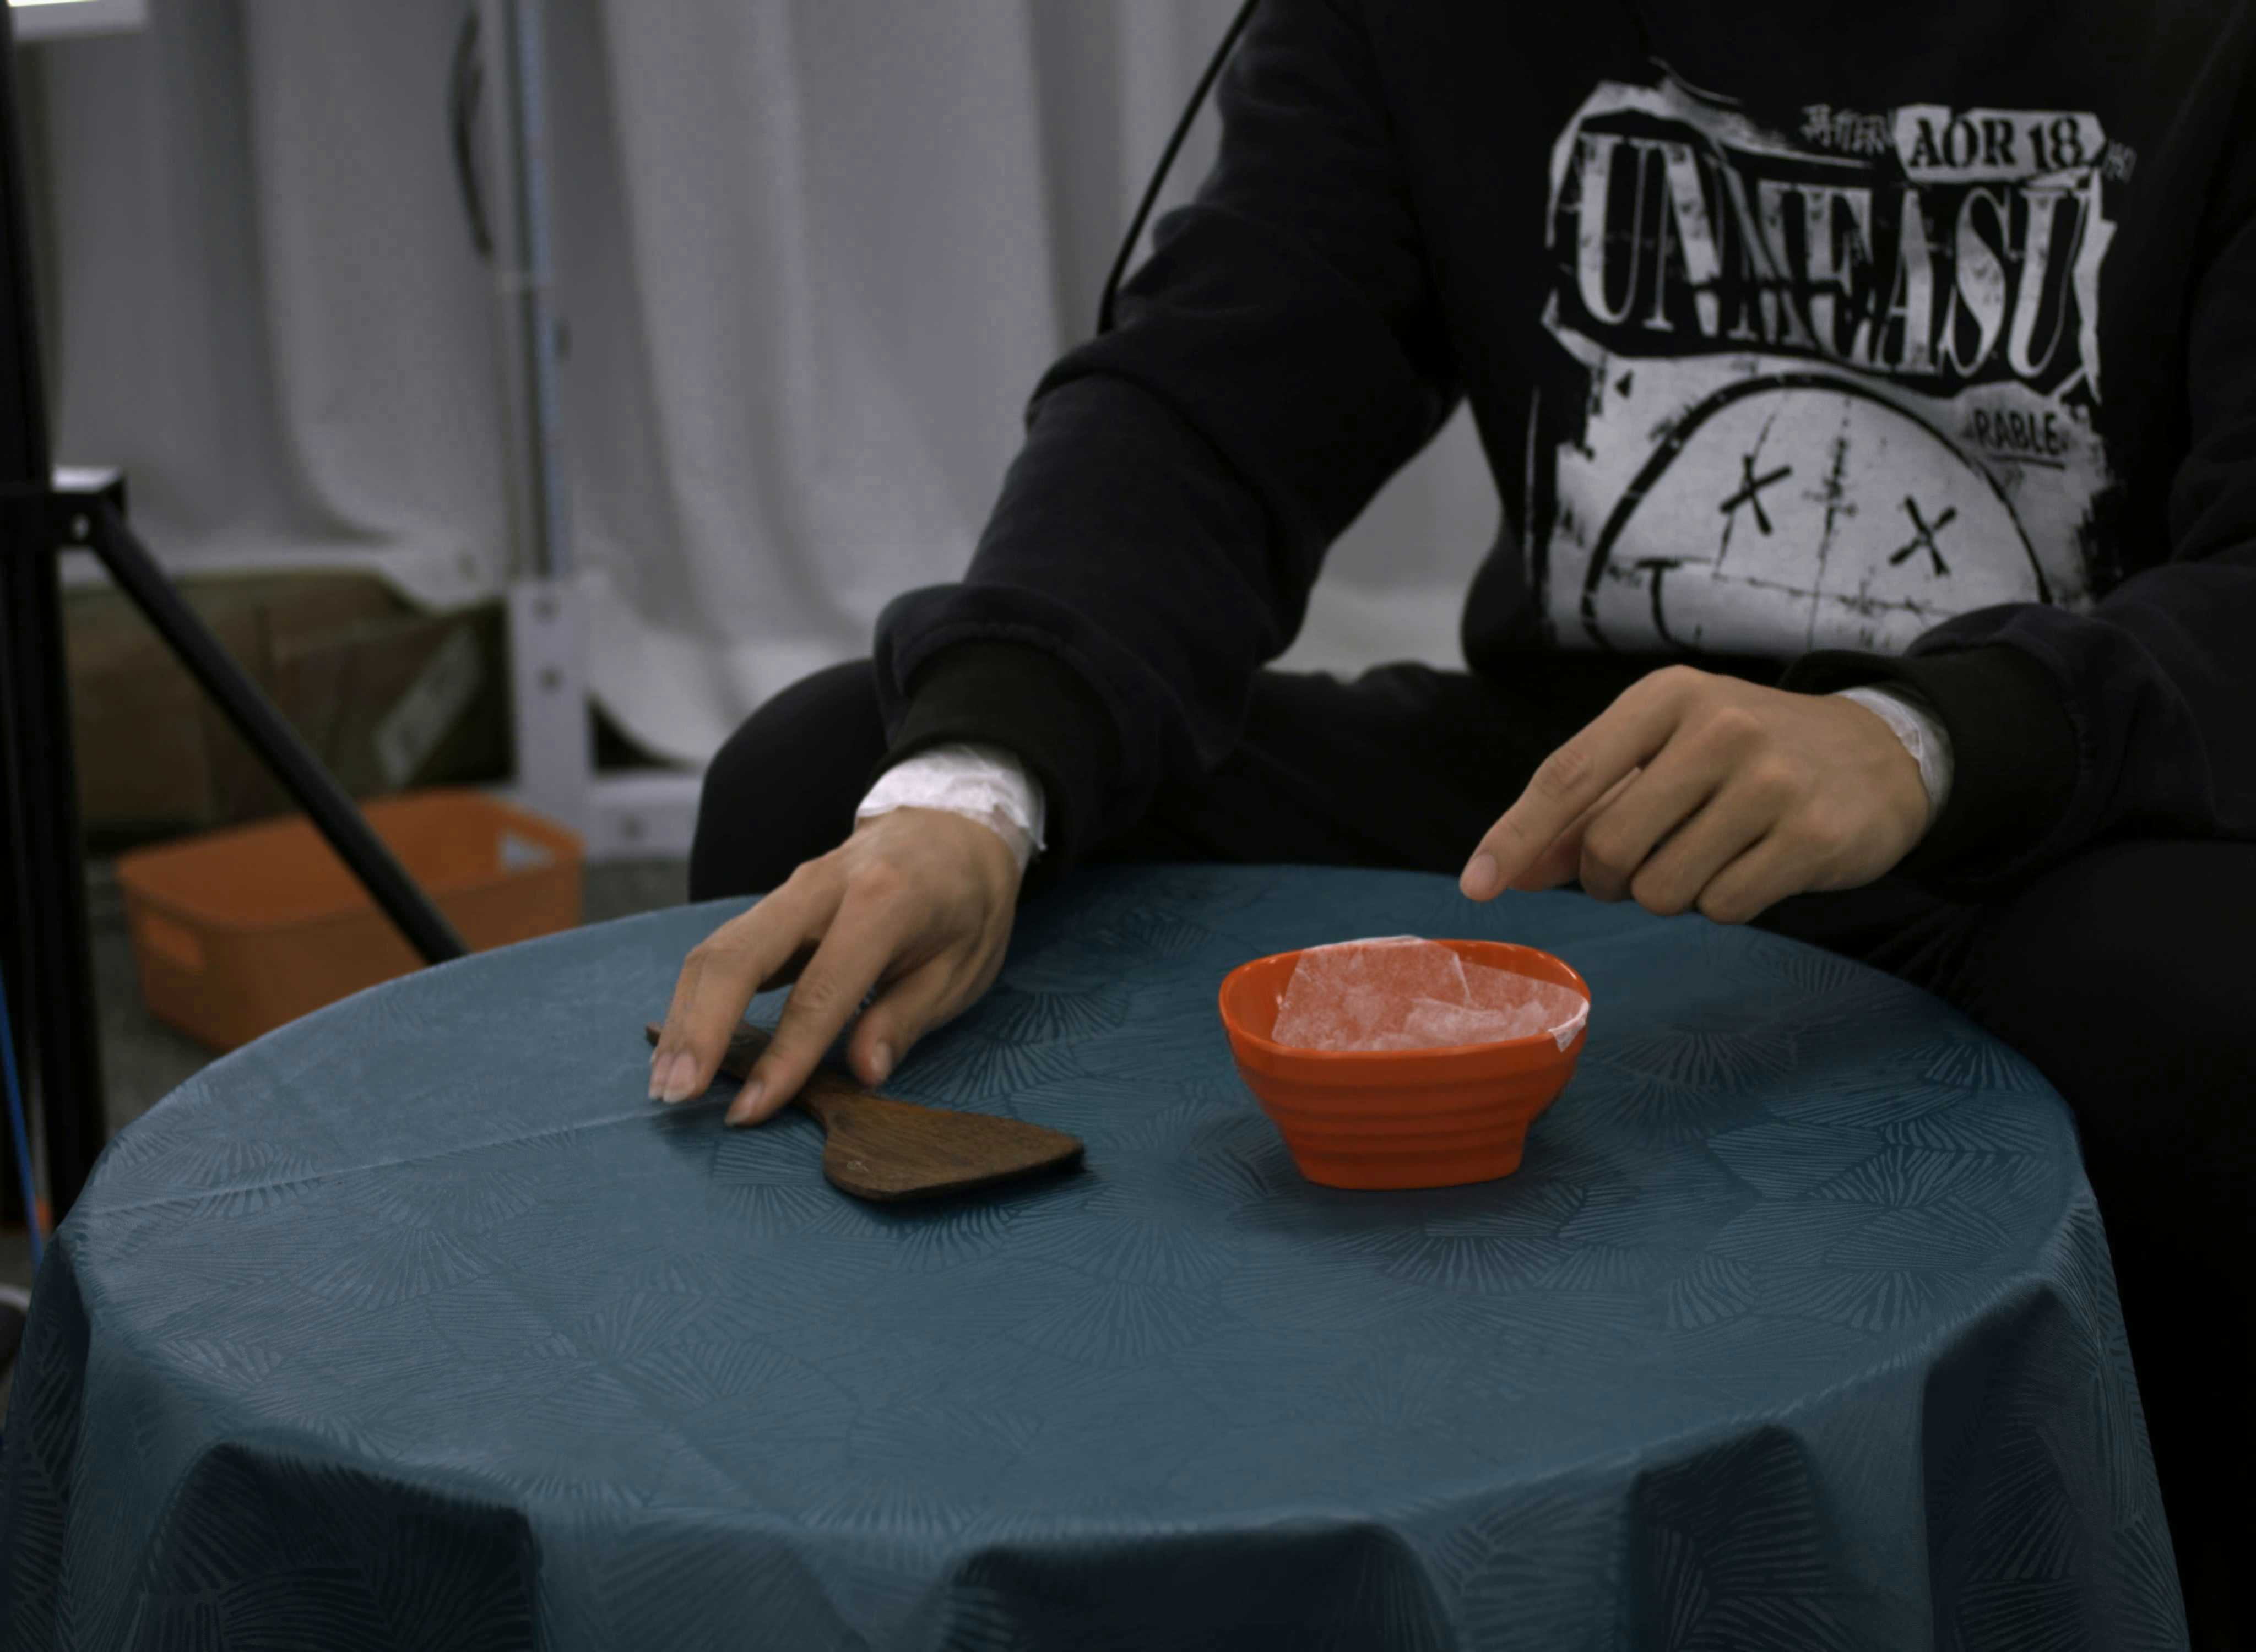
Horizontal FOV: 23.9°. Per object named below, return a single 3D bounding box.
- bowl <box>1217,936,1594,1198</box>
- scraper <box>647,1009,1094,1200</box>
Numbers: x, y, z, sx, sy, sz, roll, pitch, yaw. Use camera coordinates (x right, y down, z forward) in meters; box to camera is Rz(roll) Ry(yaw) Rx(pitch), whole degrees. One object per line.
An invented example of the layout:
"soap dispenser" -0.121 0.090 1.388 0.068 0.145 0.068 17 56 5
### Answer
"bowl" 0.083 0.074 1.574 0.118 0.051 0.119 -5 17 0
"scraper" -0.091 0.084 1.643 0.074 0.011 0.216 -10 17 -30
